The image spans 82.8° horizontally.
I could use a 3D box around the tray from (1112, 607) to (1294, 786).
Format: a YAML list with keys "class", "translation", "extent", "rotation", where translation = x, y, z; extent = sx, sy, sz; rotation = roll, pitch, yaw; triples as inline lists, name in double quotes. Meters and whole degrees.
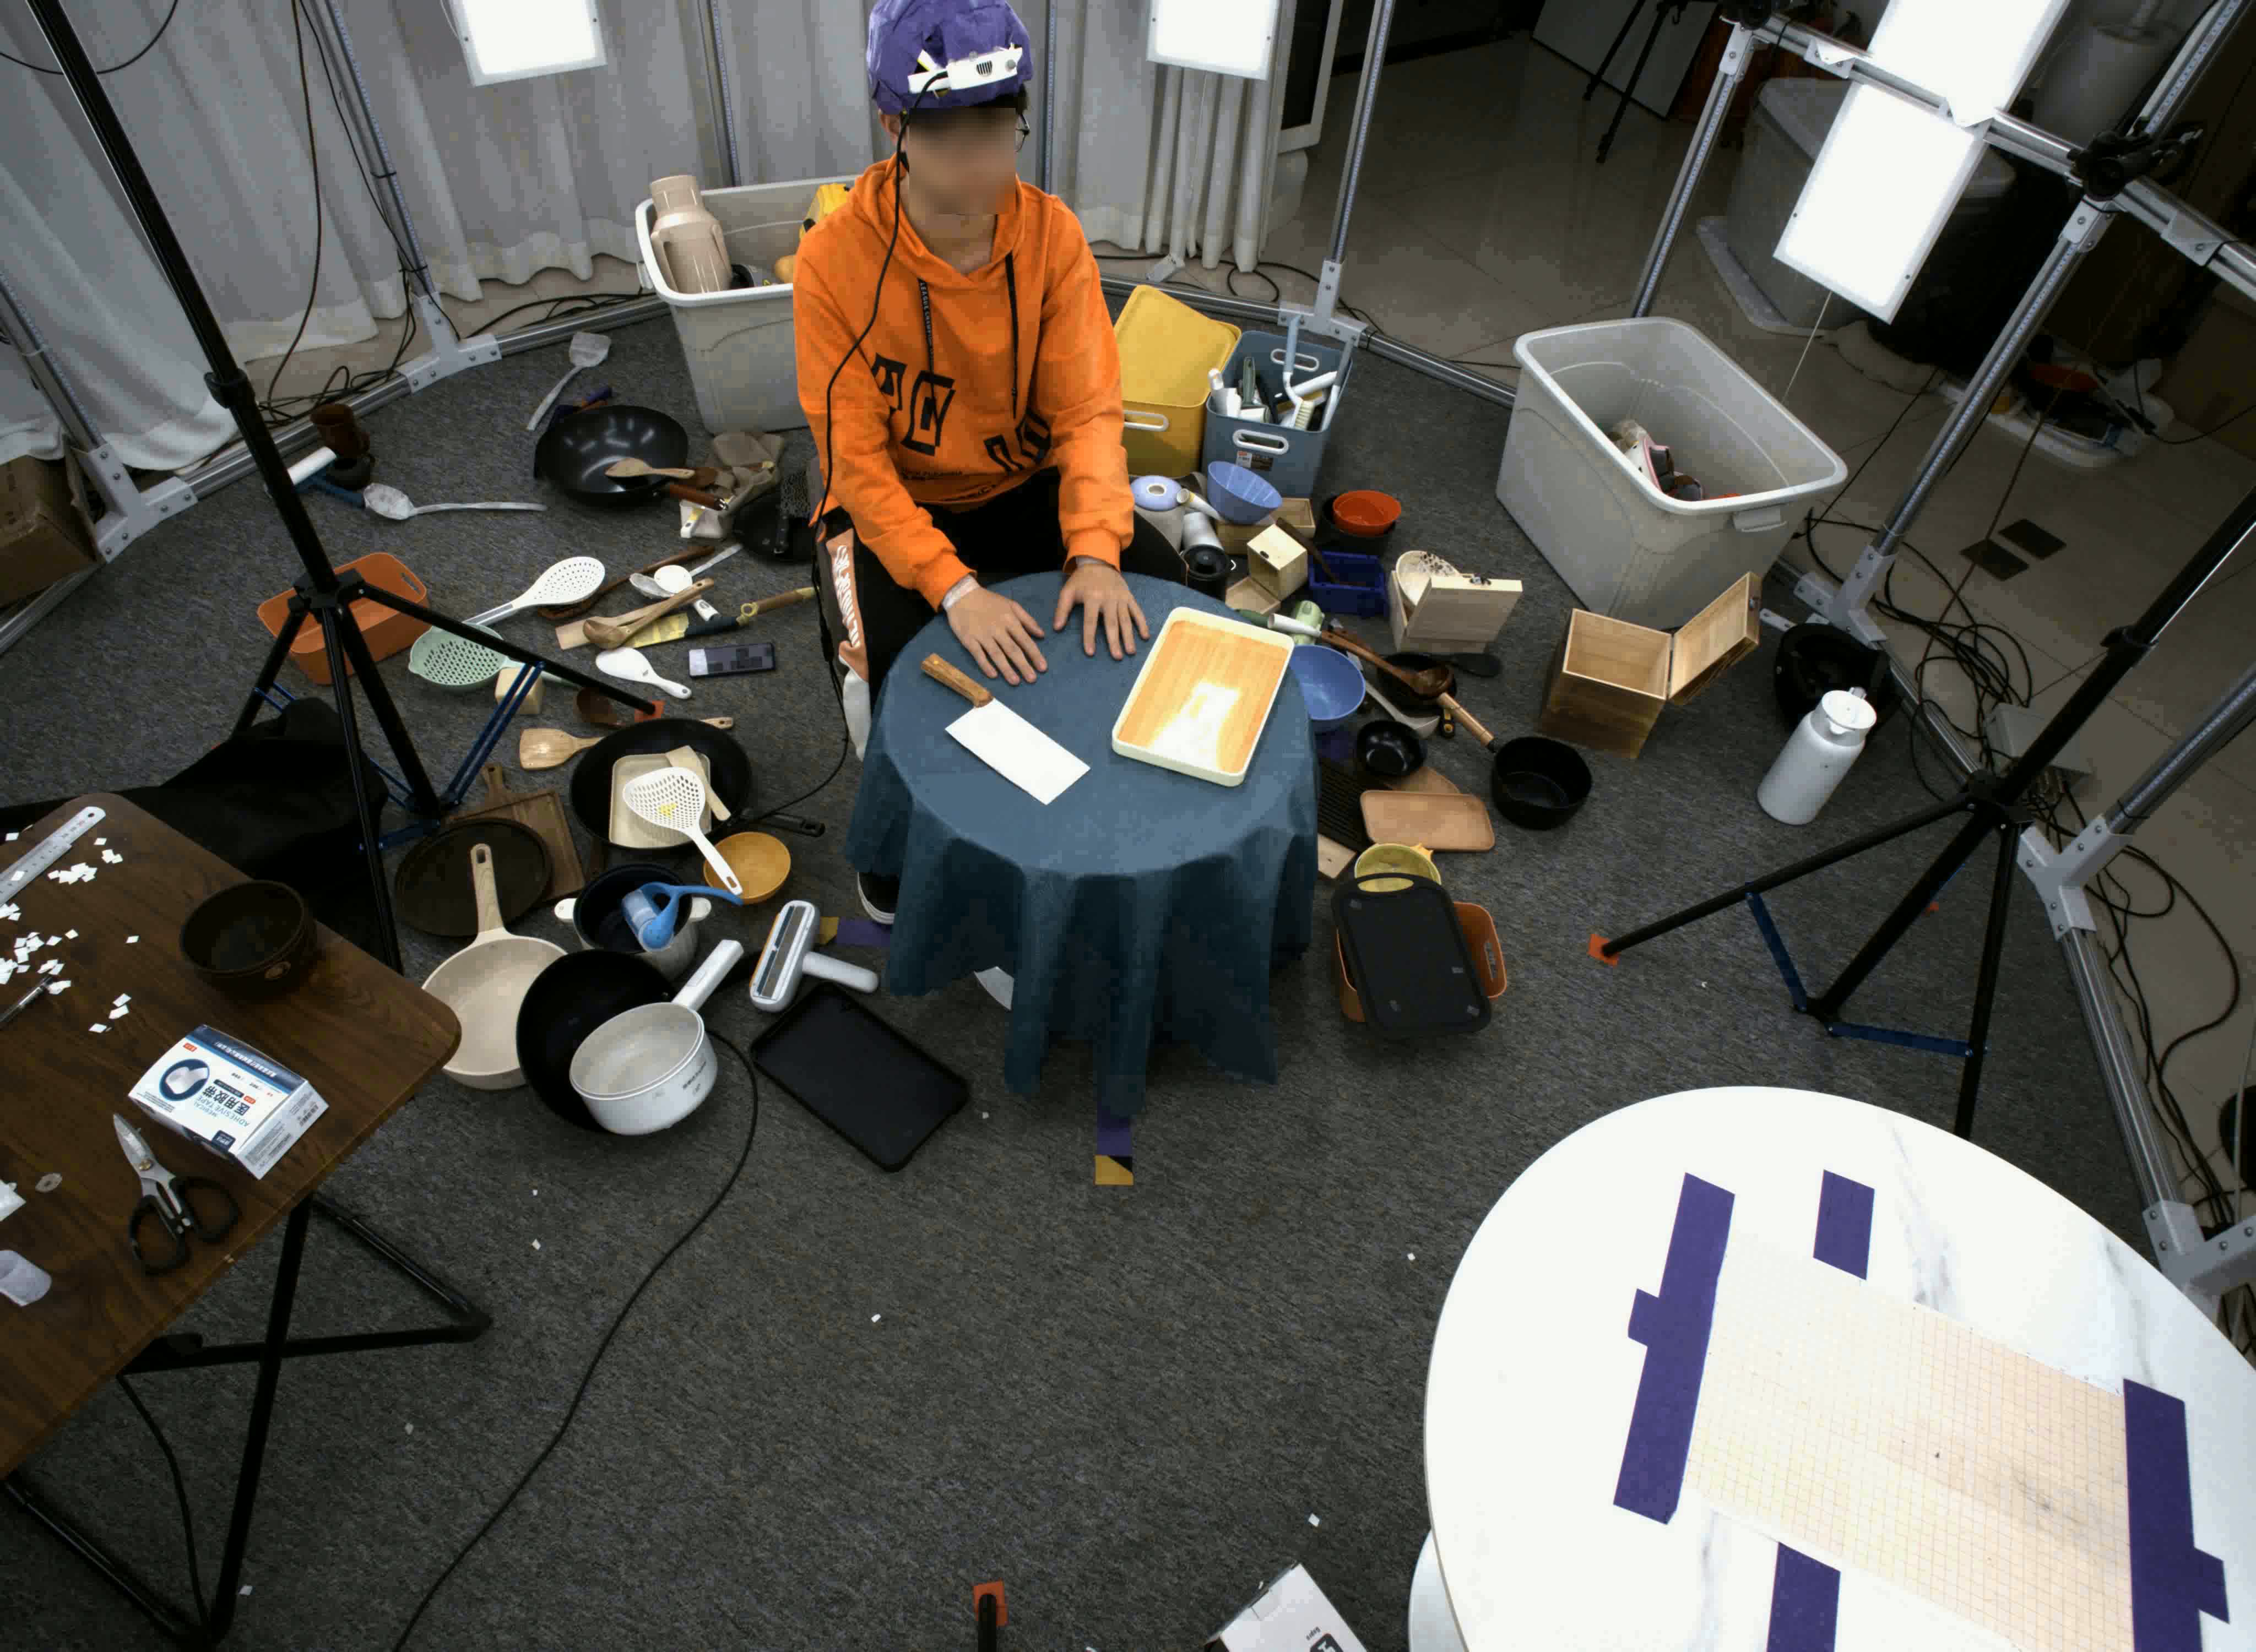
- class: "tray"
  translation: [0.111, -0.190, 1.823]
  extent: [0.192, 0.027, 0.306]
  rotation: [16, 50, 11]

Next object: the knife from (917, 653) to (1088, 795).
- class: "knife"
  translation: [-0.192, -0.138, 1.766]
  extent: [0.309, 0.020, 0.094]
  rotation: [36, 57, 22]
